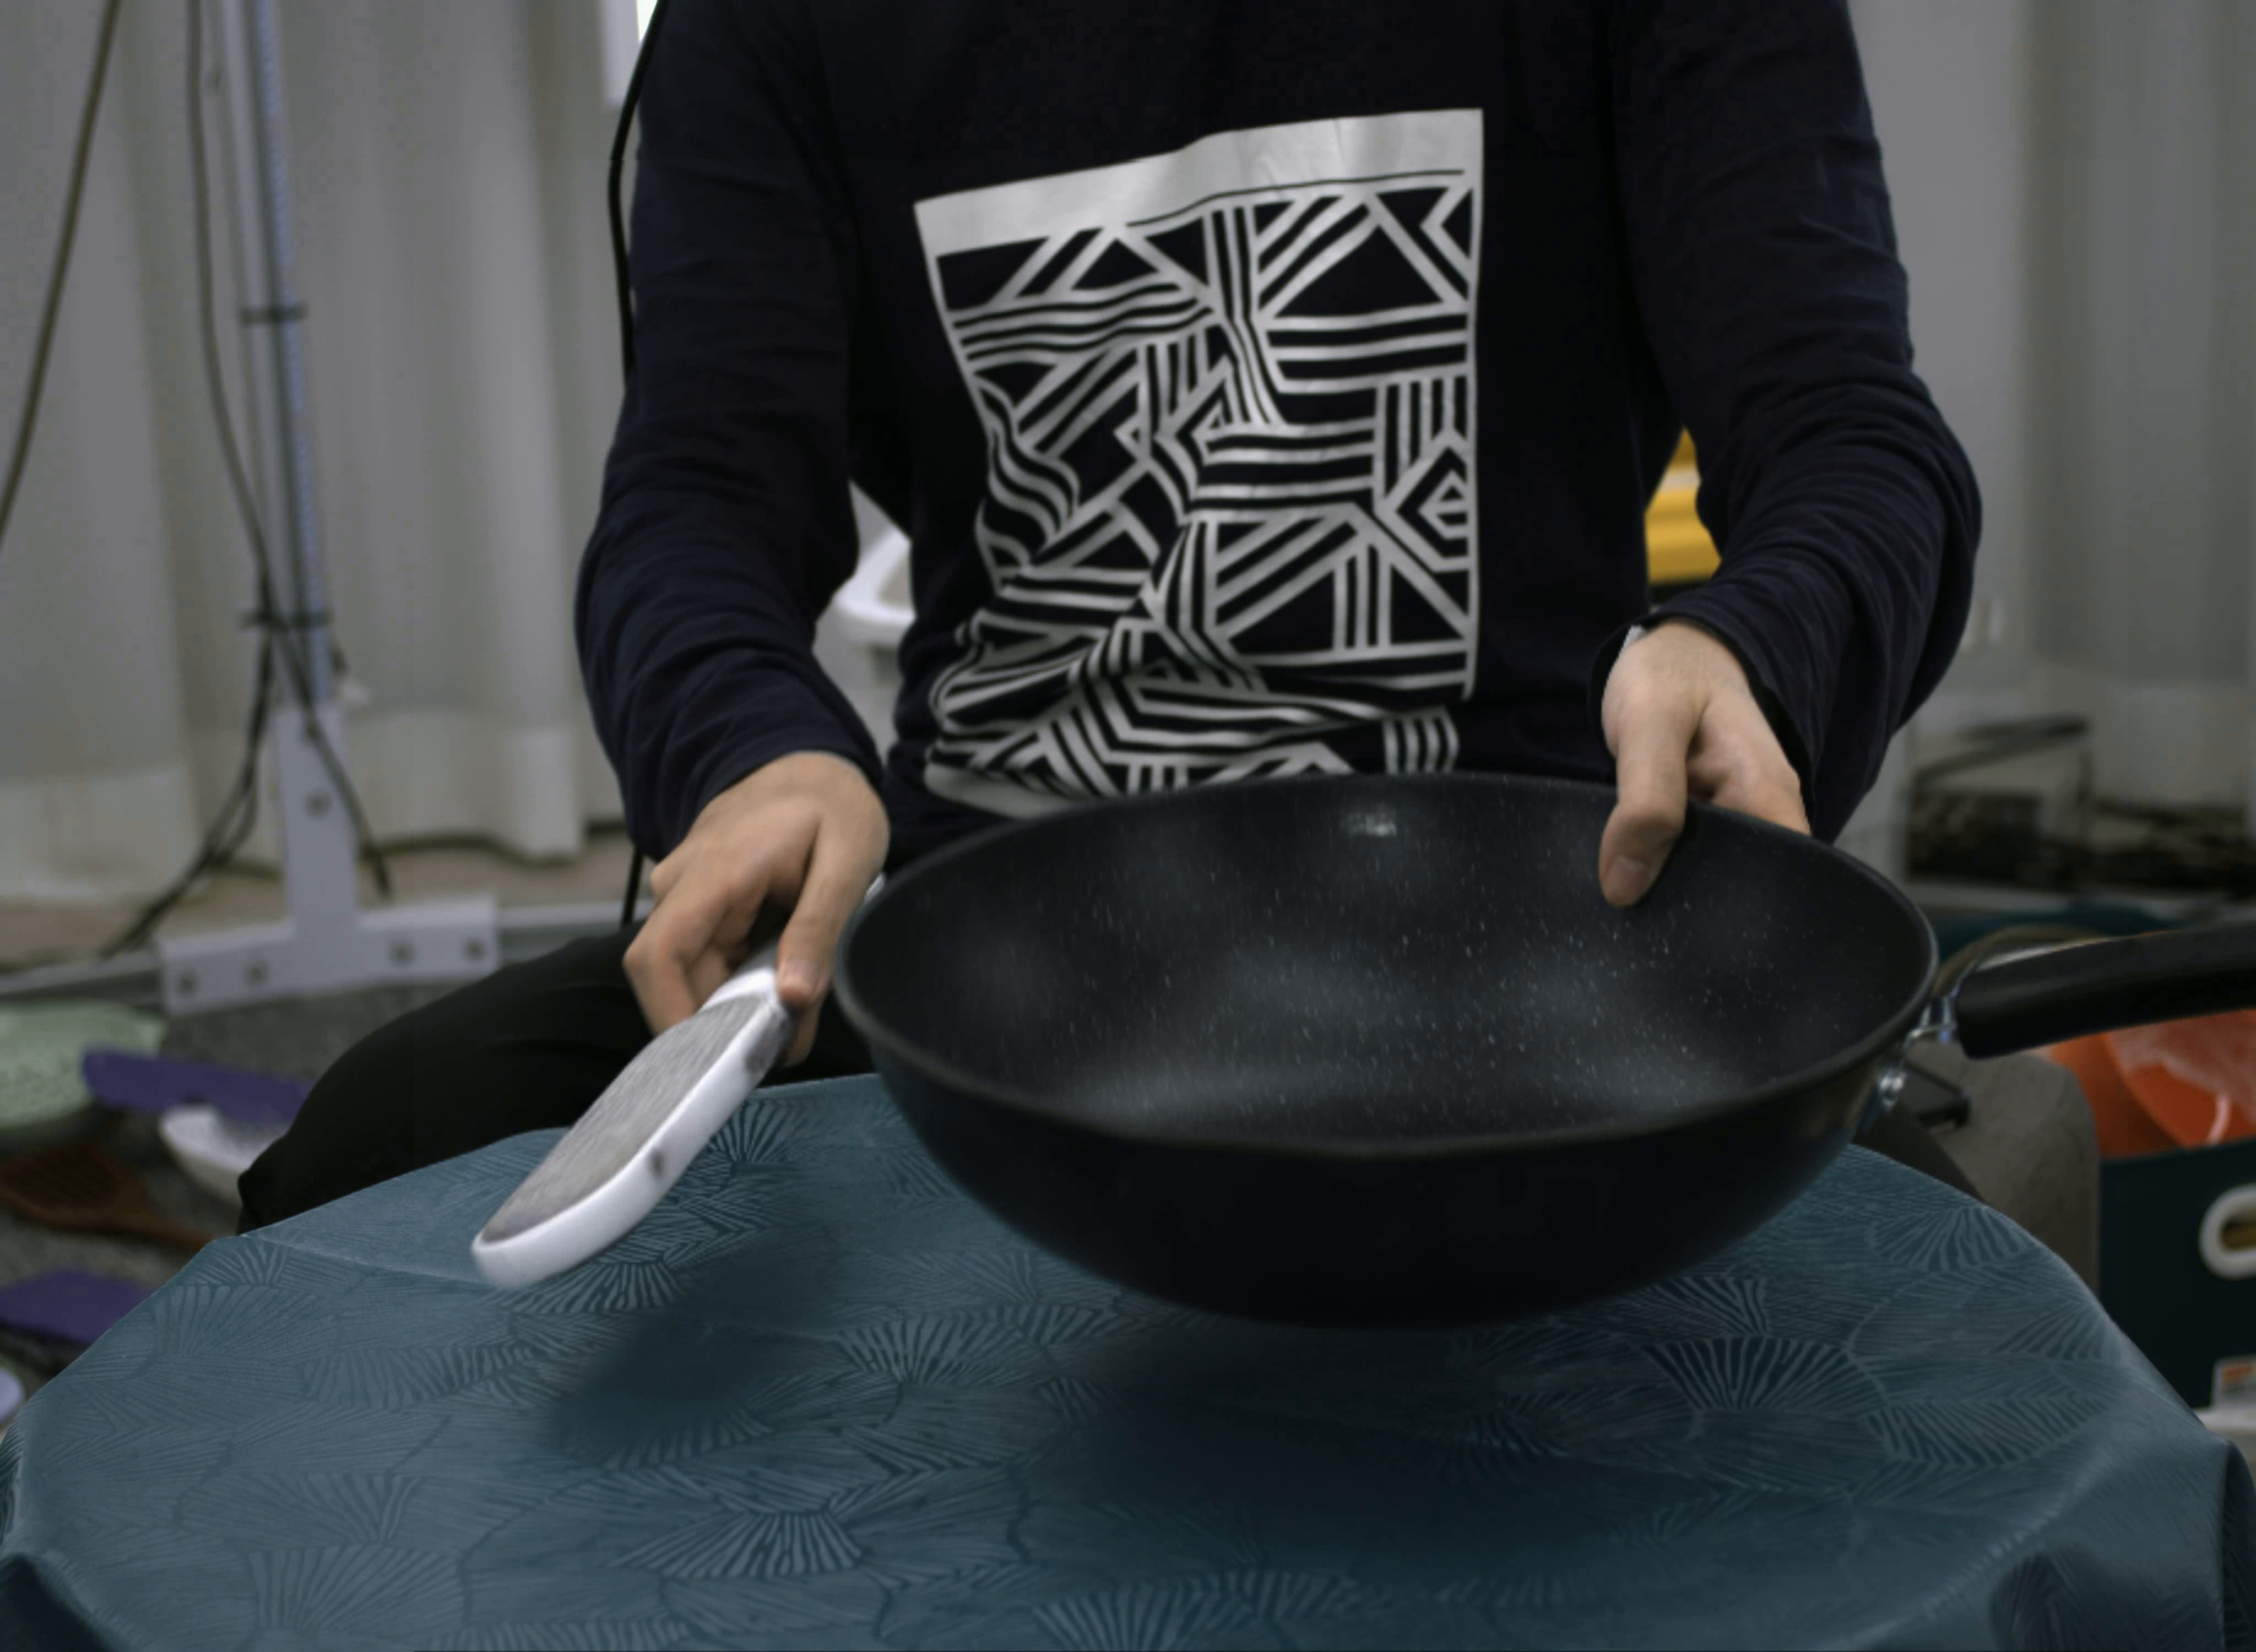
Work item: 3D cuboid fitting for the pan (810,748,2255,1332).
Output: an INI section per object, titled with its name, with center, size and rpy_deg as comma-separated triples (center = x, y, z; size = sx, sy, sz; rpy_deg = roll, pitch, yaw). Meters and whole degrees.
[pan]
center = 0.147, 0.062, 1.514
size = 0.476, 0.111, 0.312
rpy_deg = 4, 20, 13

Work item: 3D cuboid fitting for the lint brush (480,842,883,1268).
[lint brush]
center = -0.126, 0.063, 1.677
size = 0.060, 0.021, 0.311
rpy_deg = -32, 8, 23
